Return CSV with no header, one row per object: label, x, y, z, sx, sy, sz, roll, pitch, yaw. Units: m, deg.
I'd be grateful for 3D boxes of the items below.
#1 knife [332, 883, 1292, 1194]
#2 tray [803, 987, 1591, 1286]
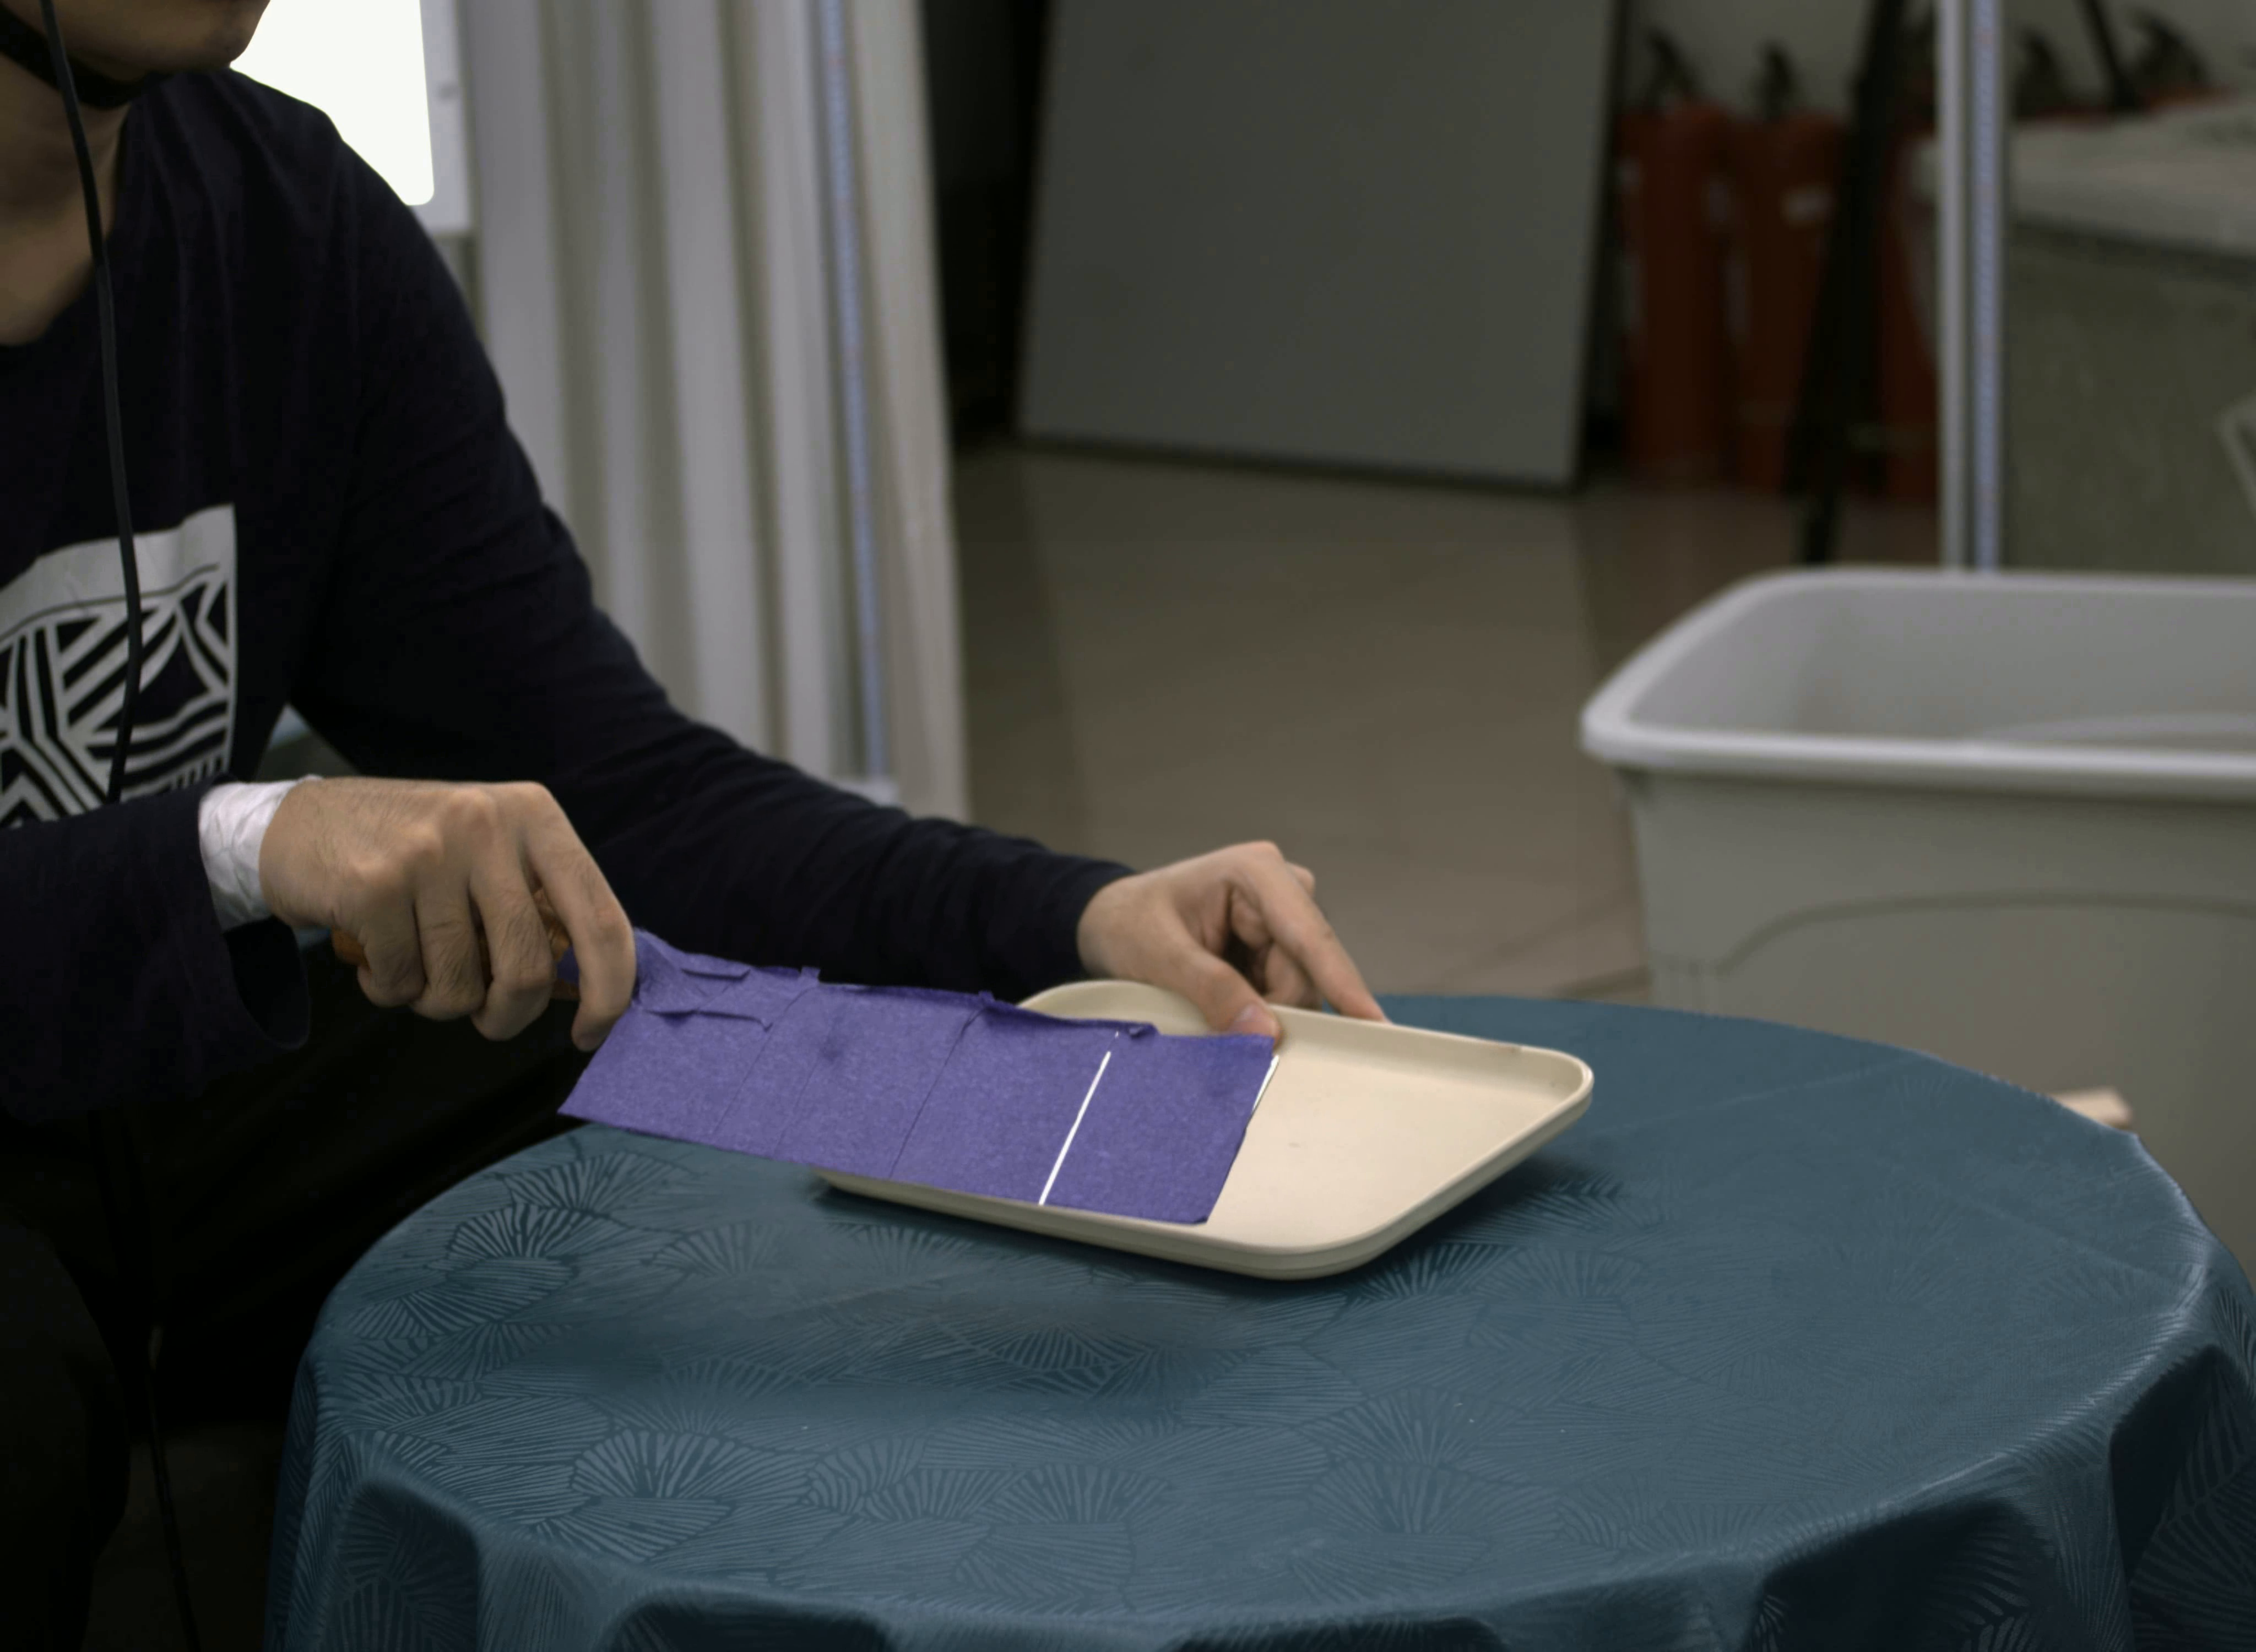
knife,-0.110,0.065,1.655,0.314,0.032,0.103,6,33,18
tray,0.023,0.101,1.780,0.241,0.017,0.168,7,25,41
